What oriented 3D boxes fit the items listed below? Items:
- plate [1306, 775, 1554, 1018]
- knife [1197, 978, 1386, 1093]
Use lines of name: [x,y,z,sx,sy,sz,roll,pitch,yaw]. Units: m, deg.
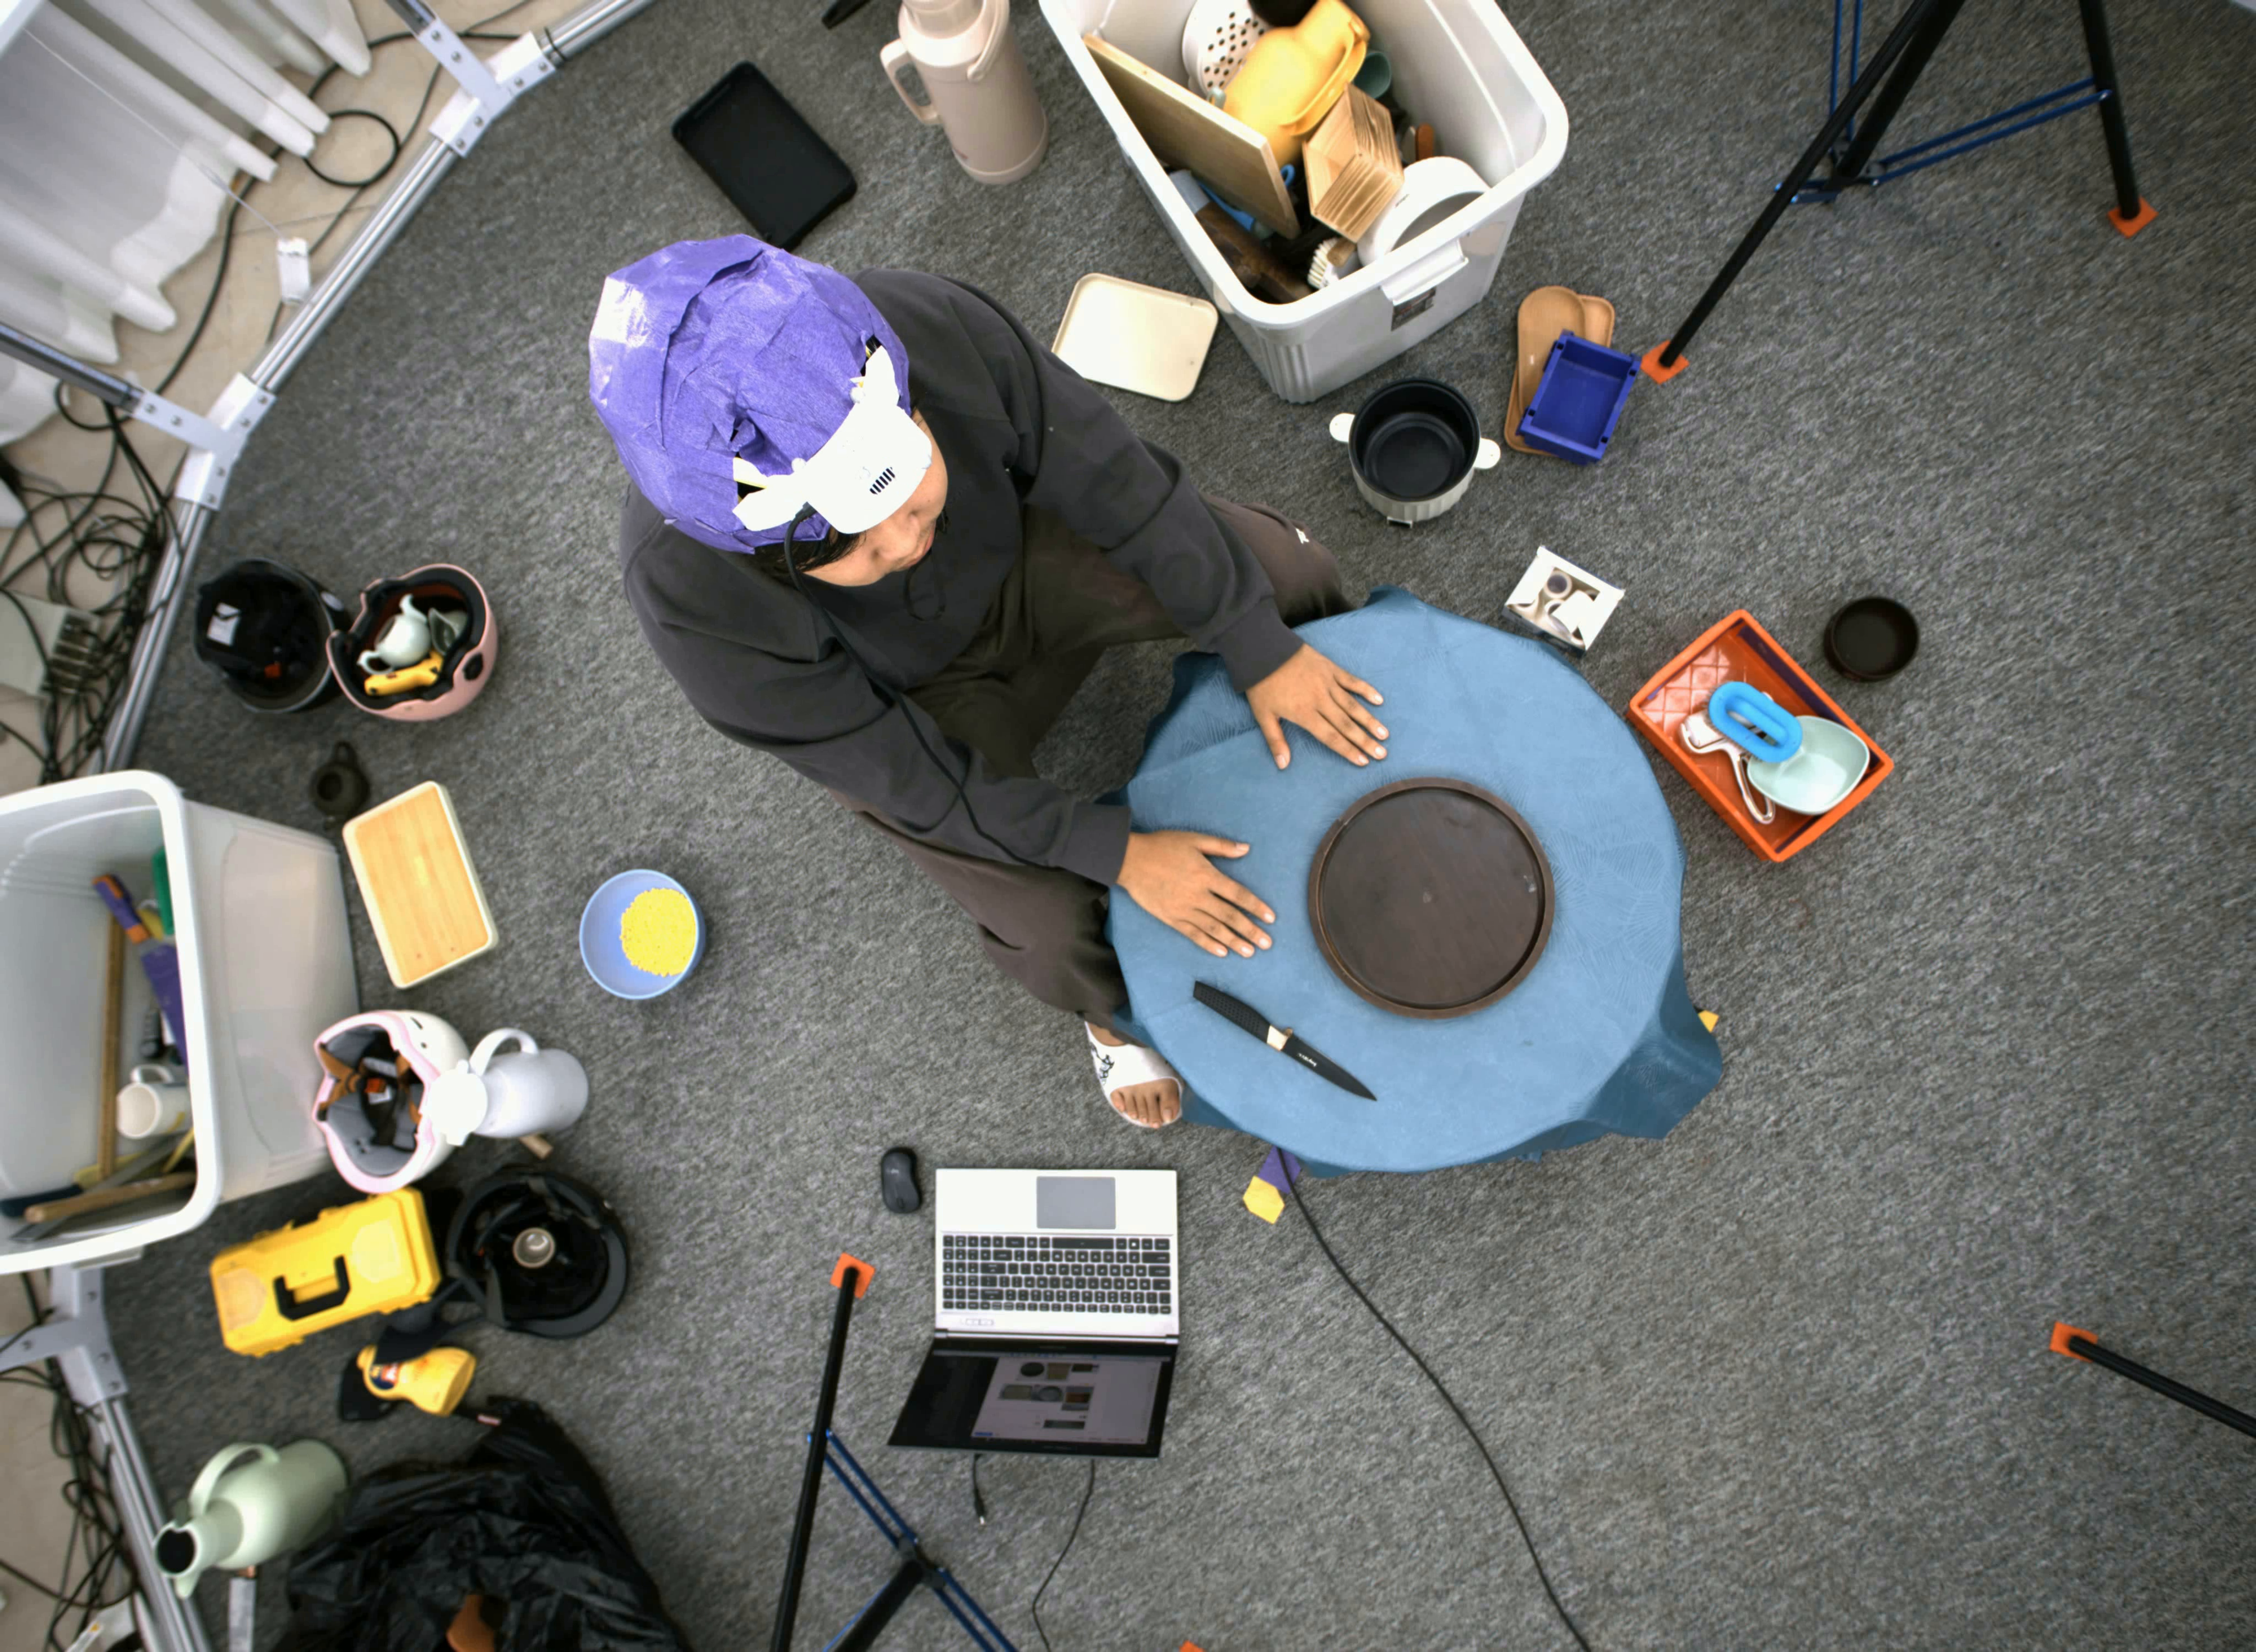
plate: [0.314,0.072,1.441,0.256,0.029,0.254,-1,87,12]
knife: [0.172,0.224,1.465,0.225,0.017,0.026,31,88,10]
